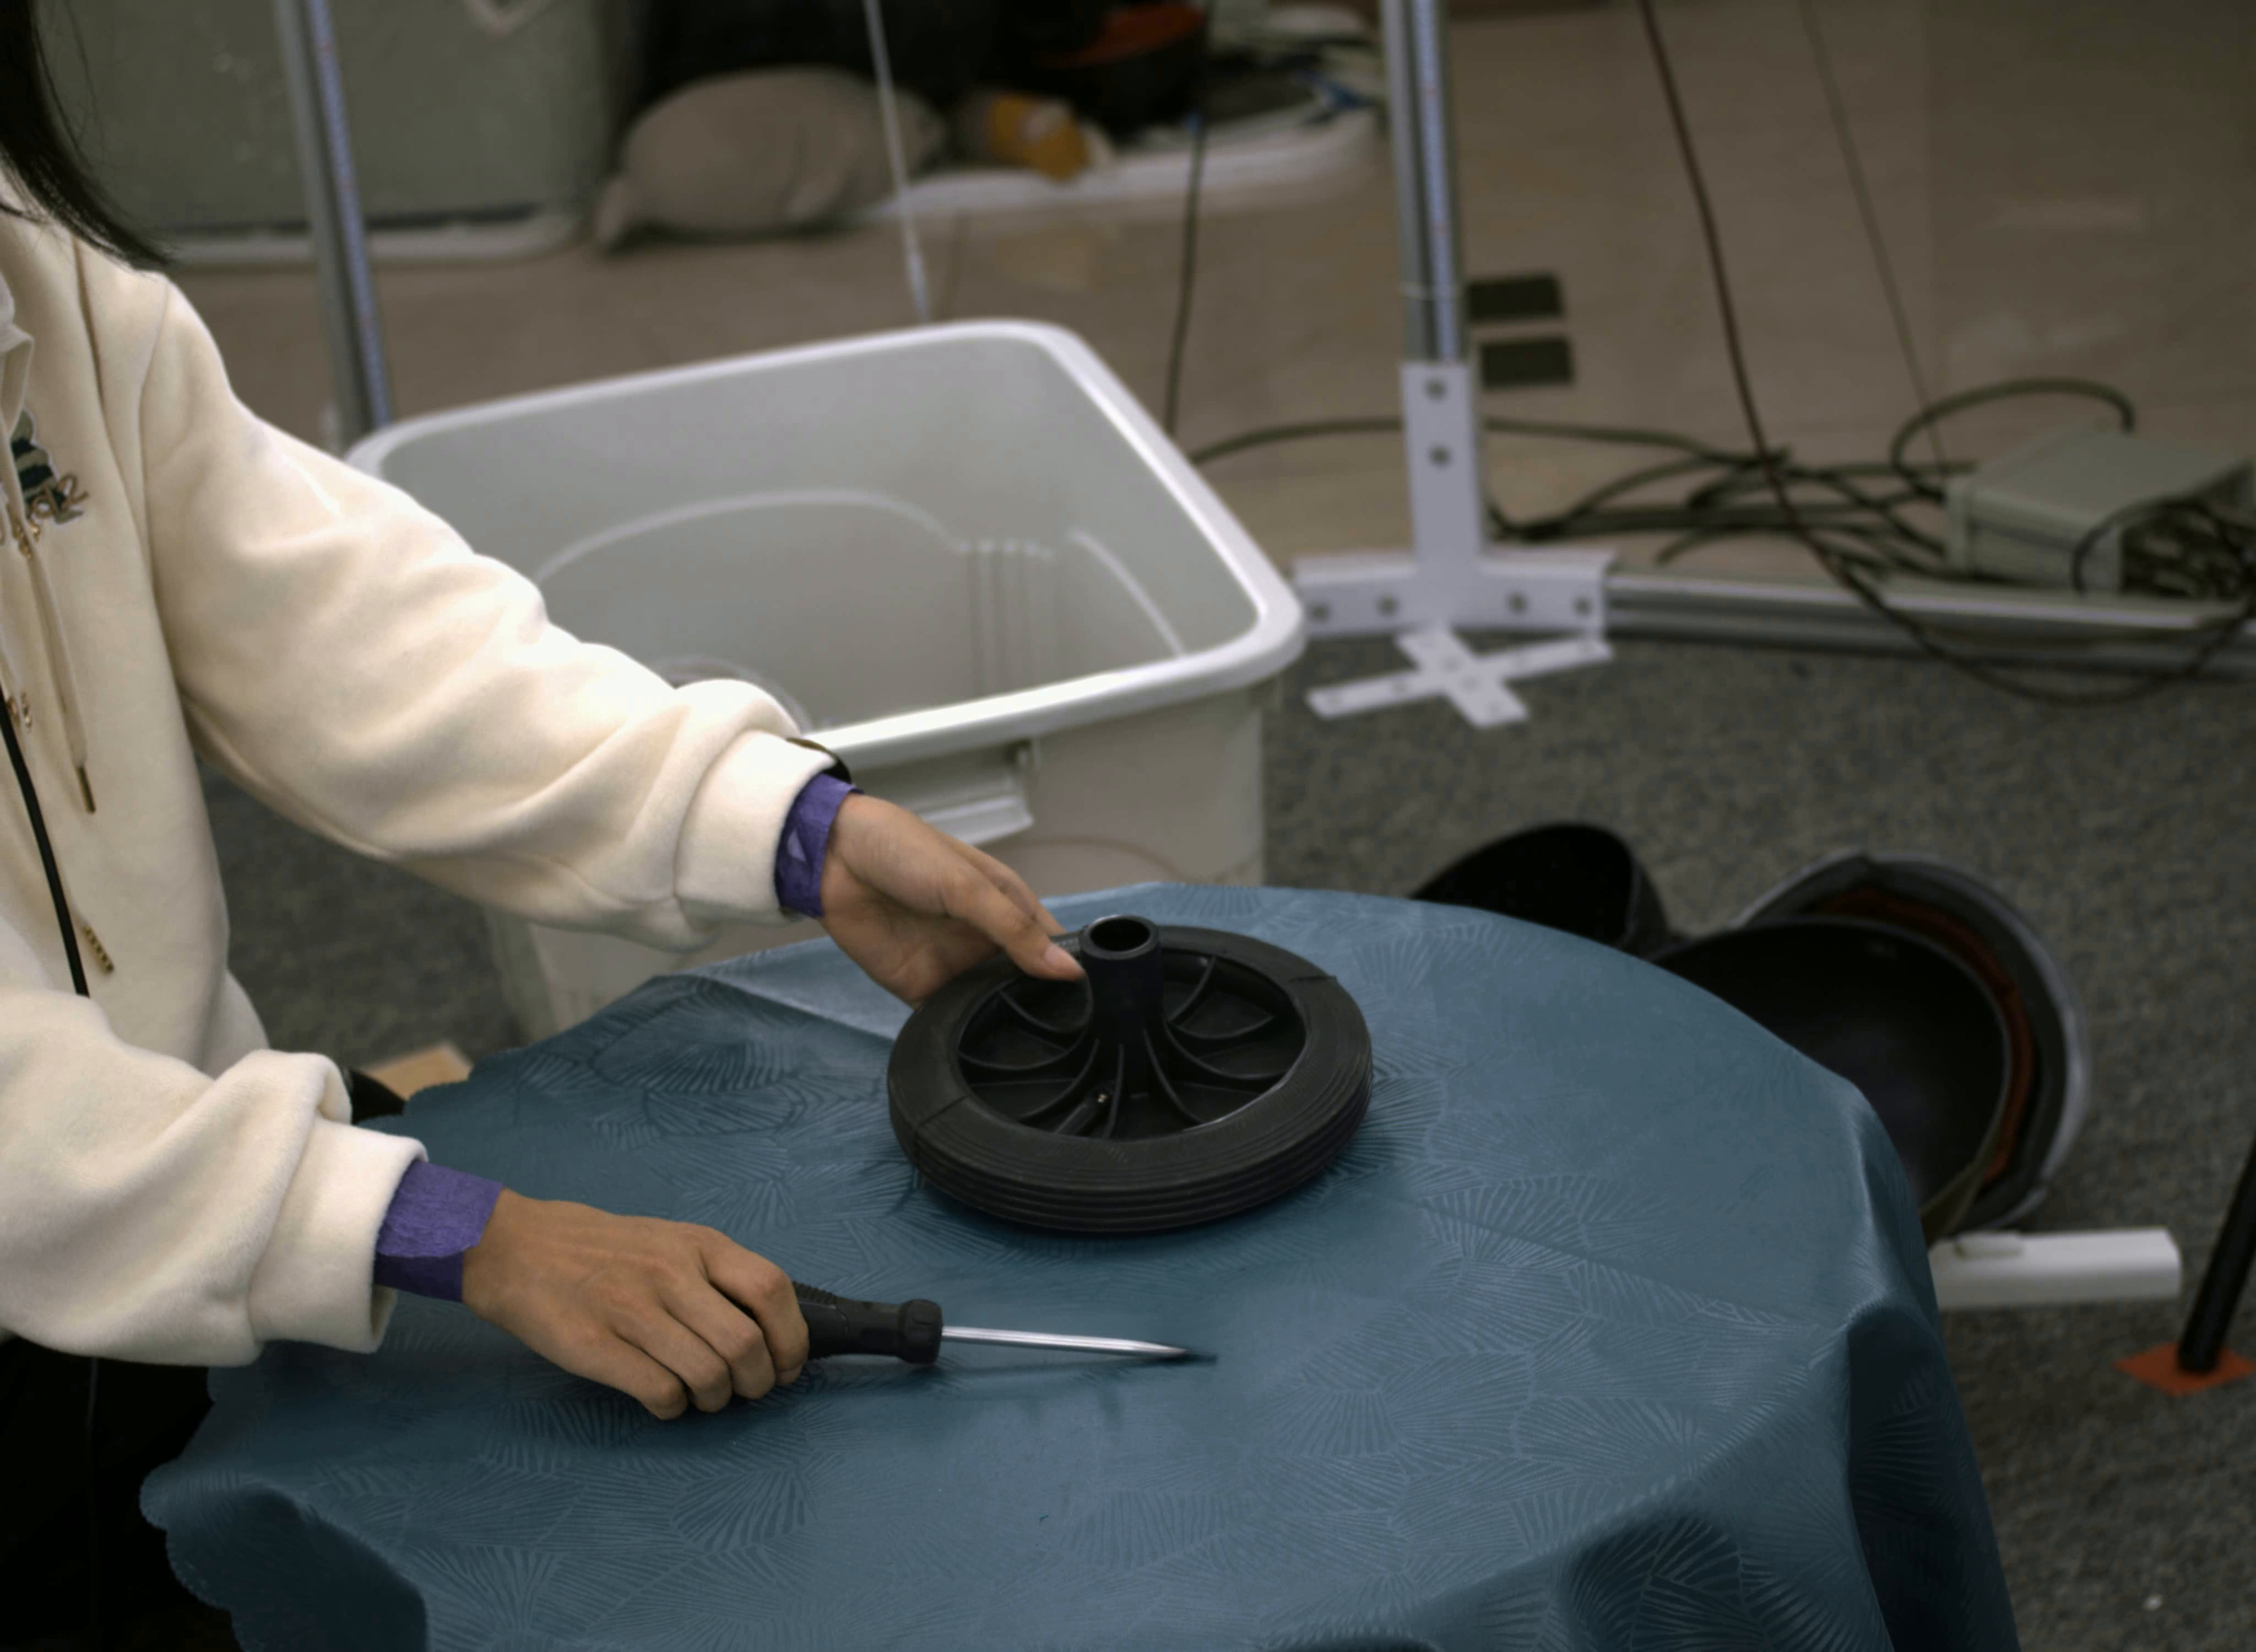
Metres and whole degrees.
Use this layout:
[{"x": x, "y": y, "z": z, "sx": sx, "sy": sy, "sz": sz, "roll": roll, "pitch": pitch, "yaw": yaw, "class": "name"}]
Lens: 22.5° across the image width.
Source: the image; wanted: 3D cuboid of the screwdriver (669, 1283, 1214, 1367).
[{"x": -0.068, "y": 0.184, "z": 2.035, "sx": 0.197, "sy": 0.032, "sz": 0.031, "roll": 3, "pitch": 26, "yaw": 9, "class": "screwdriver"}]

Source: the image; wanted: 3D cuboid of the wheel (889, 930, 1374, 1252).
[{"x": 0.000, "y": 0.082, "z": 2.172, "sx": 0.187, "sy": 0.080, "sz": 0.186, "roll": 1, "pitch": 34, "yaw": 7, "class": "wheel"}]
